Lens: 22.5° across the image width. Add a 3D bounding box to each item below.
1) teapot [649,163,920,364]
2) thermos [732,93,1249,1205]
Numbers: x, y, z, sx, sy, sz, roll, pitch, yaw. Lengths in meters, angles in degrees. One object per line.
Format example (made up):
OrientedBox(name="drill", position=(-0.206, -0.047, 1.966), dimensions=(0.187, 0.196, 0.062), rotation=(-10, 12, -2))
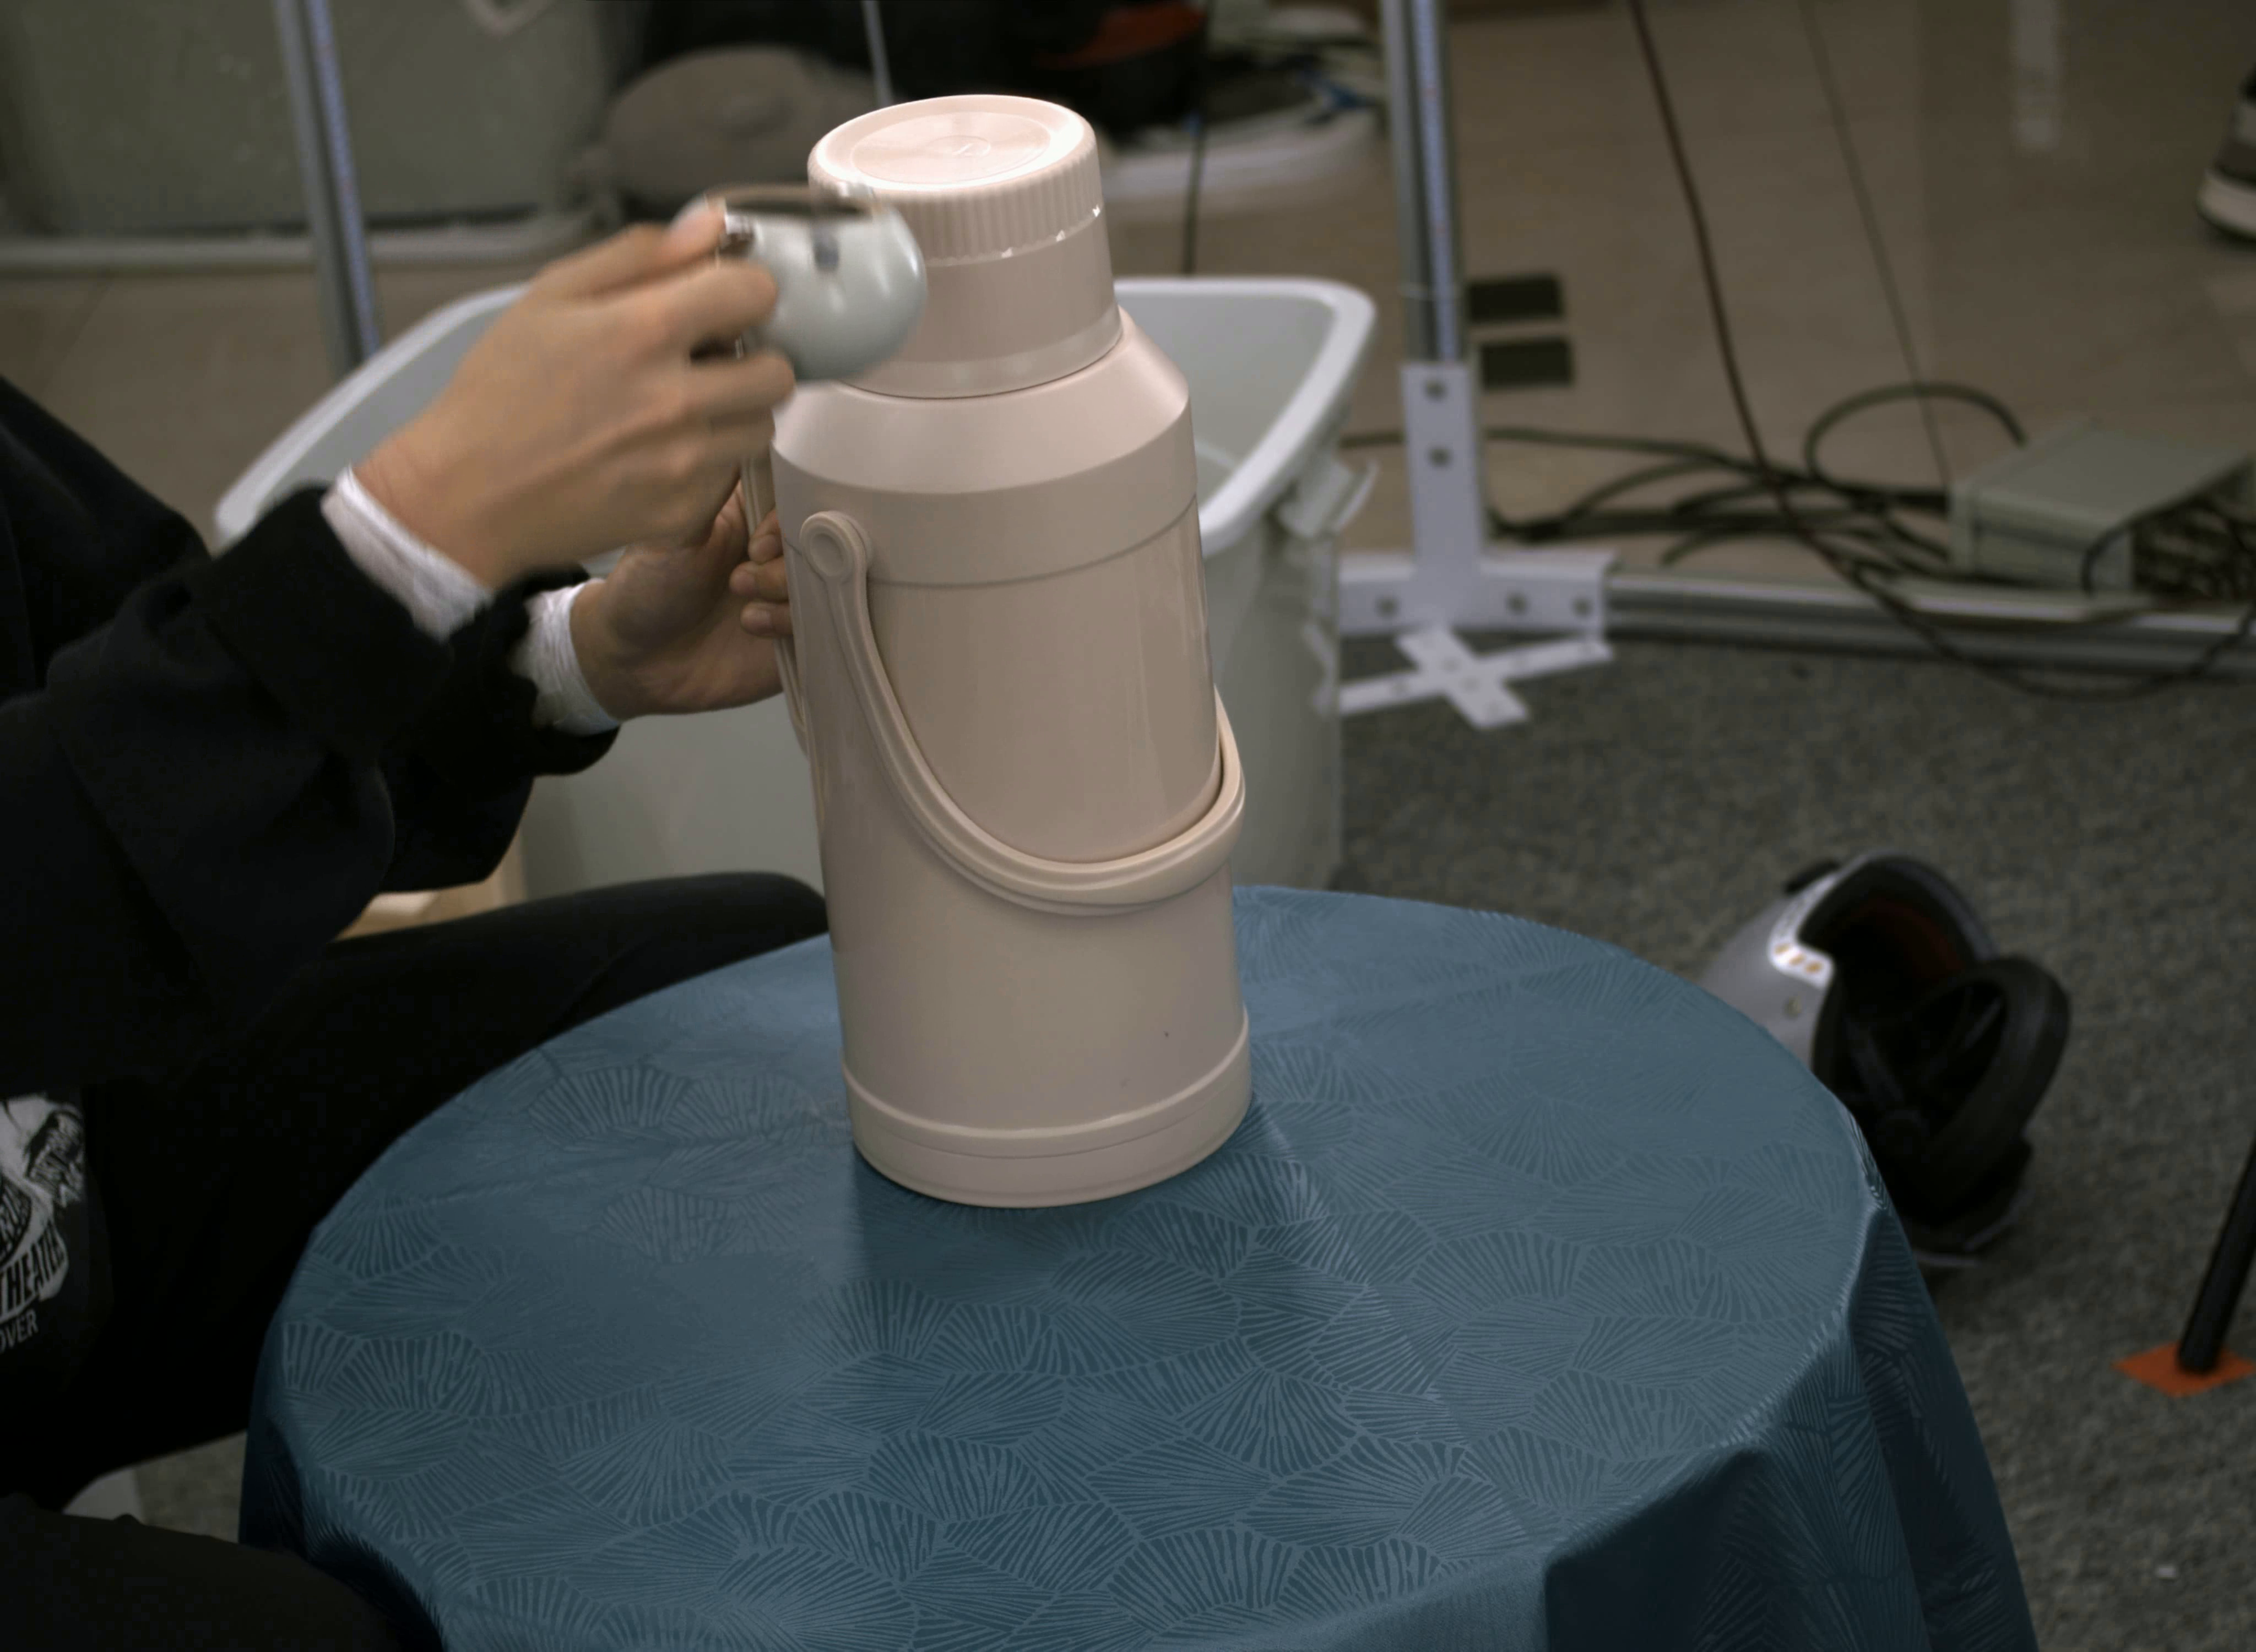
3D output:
OrientedBox(name="teapot", position=(-0.119, -0.188, 1.900), dimensions=(0.091, 0.060, 0.127), rotation=(13, 19, 18))
OrientedBox(name="thermos", position=(-0.057, -0.071, 2.129), dimensions=(0.205, 0.413, 0.173), rotation=(17, 36, 34))
